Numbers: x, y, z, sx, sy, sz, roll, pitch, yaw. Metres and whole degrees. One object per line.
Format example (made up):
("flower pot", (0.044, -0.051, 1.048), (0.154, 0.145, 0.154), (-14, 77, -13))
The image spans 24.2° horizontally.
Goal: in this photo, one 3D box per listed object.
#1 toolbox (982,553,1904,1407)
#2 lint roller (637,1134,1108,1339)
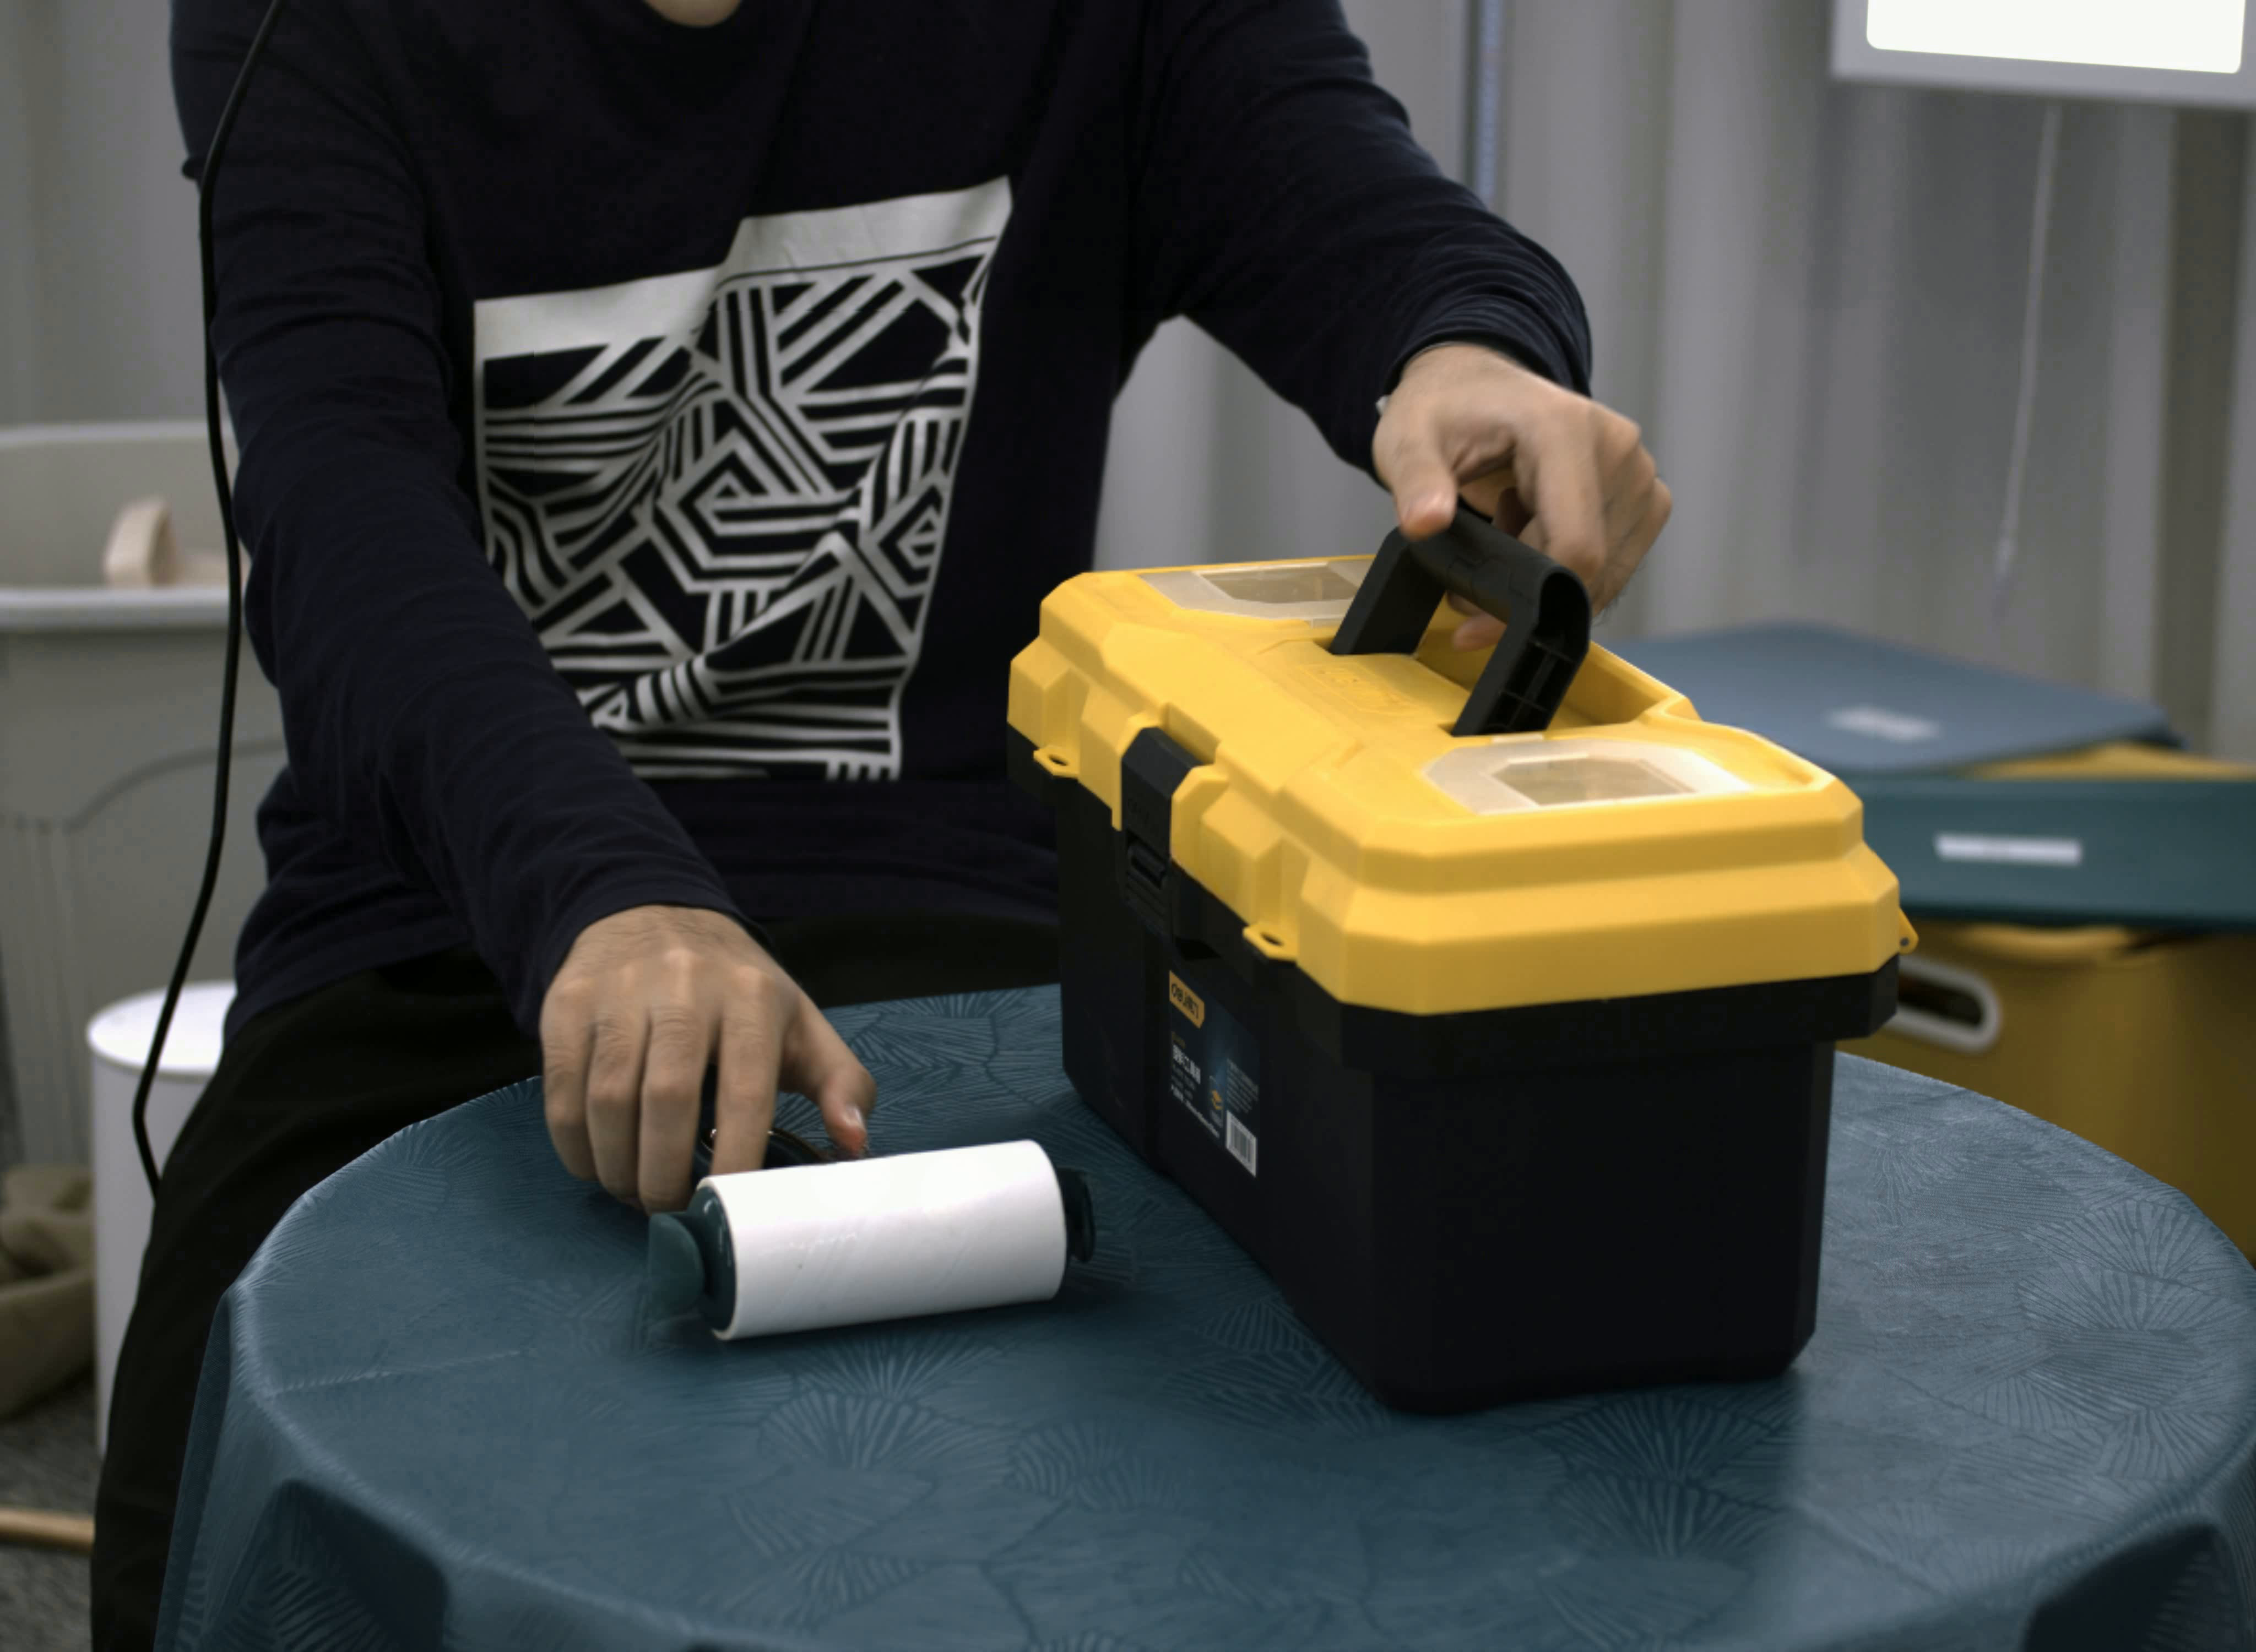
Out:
("toolbox", (0.084, 0.036, 1.576), (0.182, 0.174, 0.348), (-4, 16, -18))
("lint roller", (-0.097, 0.106, 1.570), (0.135, 0.048, 0.178), (-6, 13, -21))
